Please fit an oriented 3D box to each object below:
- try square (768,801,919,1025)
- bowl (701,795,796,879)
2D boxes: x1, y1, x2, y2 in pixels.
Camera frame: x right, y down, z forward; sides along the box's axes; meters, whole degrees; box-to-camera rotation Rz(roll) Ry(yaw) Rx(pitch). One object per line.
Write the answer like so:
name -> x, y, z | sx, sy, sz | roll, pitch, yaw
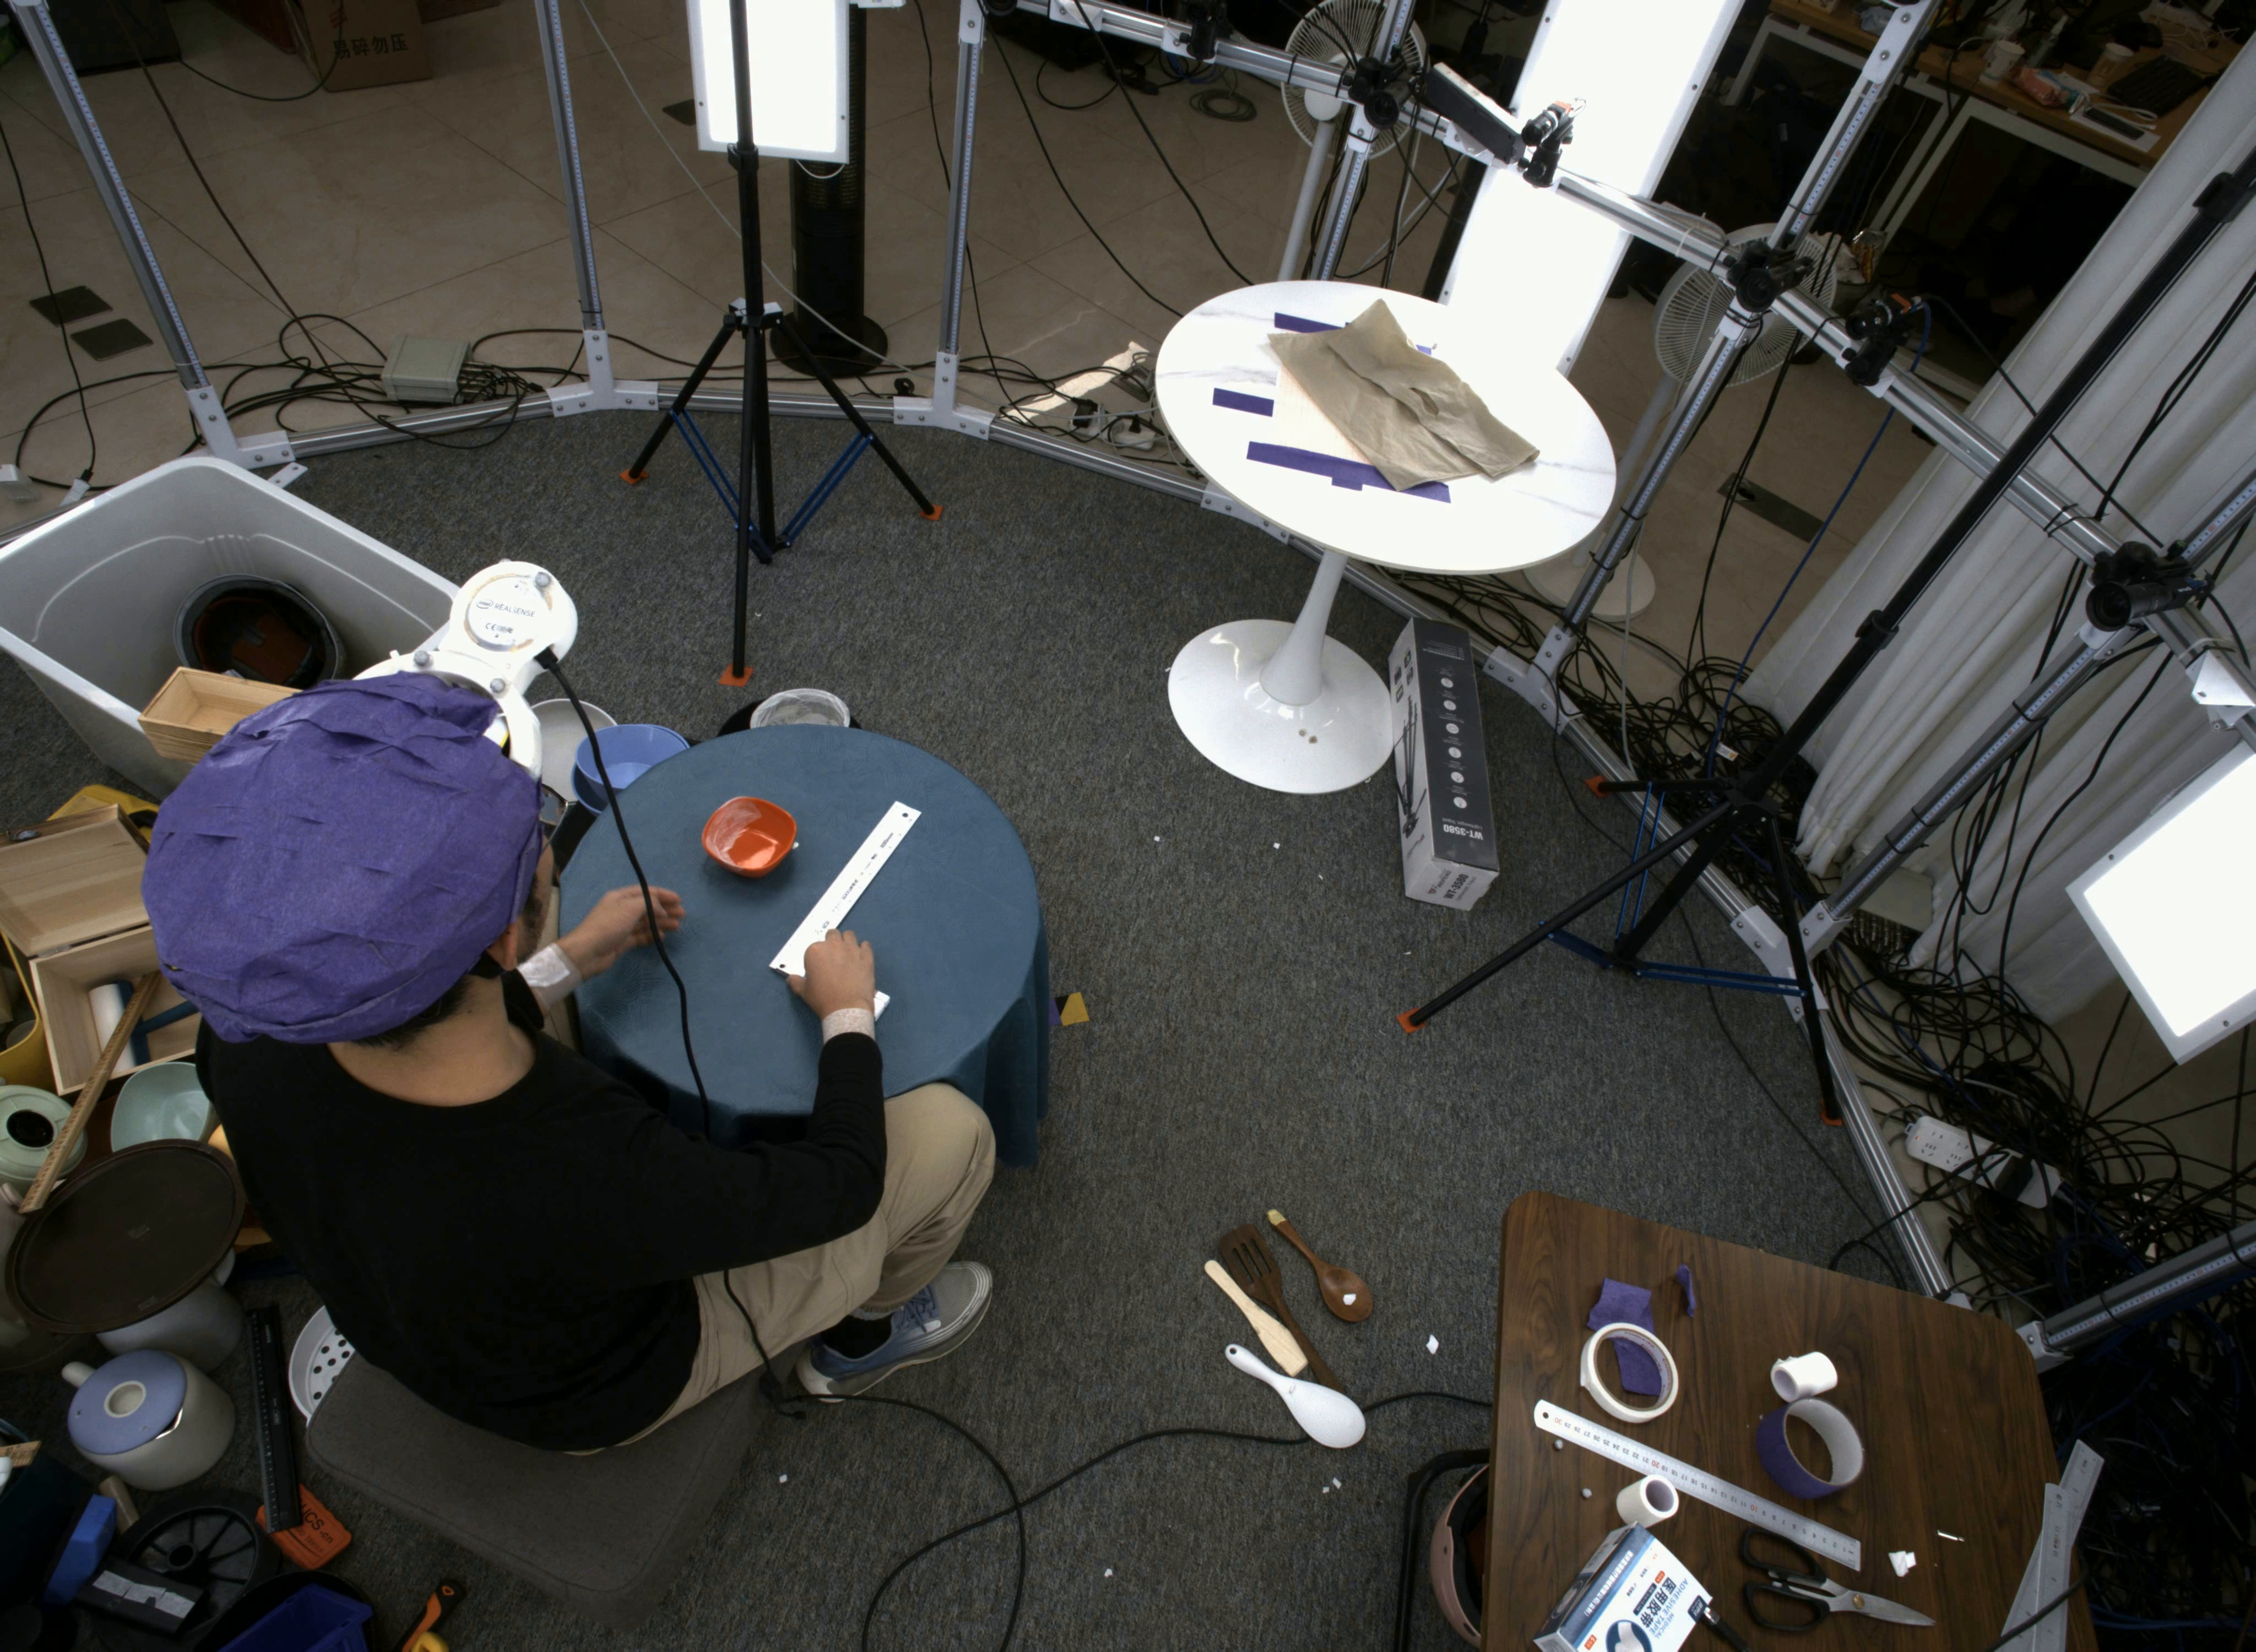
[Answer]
try square -> -0.313, 0.101, 1.670 | 0.150, 0.016, 0.311 | 27, 51, 3
bowl -> -0.484, 0.021, 1.653 | 0.119, 0.052, 0.117 | 9, 51, -10
